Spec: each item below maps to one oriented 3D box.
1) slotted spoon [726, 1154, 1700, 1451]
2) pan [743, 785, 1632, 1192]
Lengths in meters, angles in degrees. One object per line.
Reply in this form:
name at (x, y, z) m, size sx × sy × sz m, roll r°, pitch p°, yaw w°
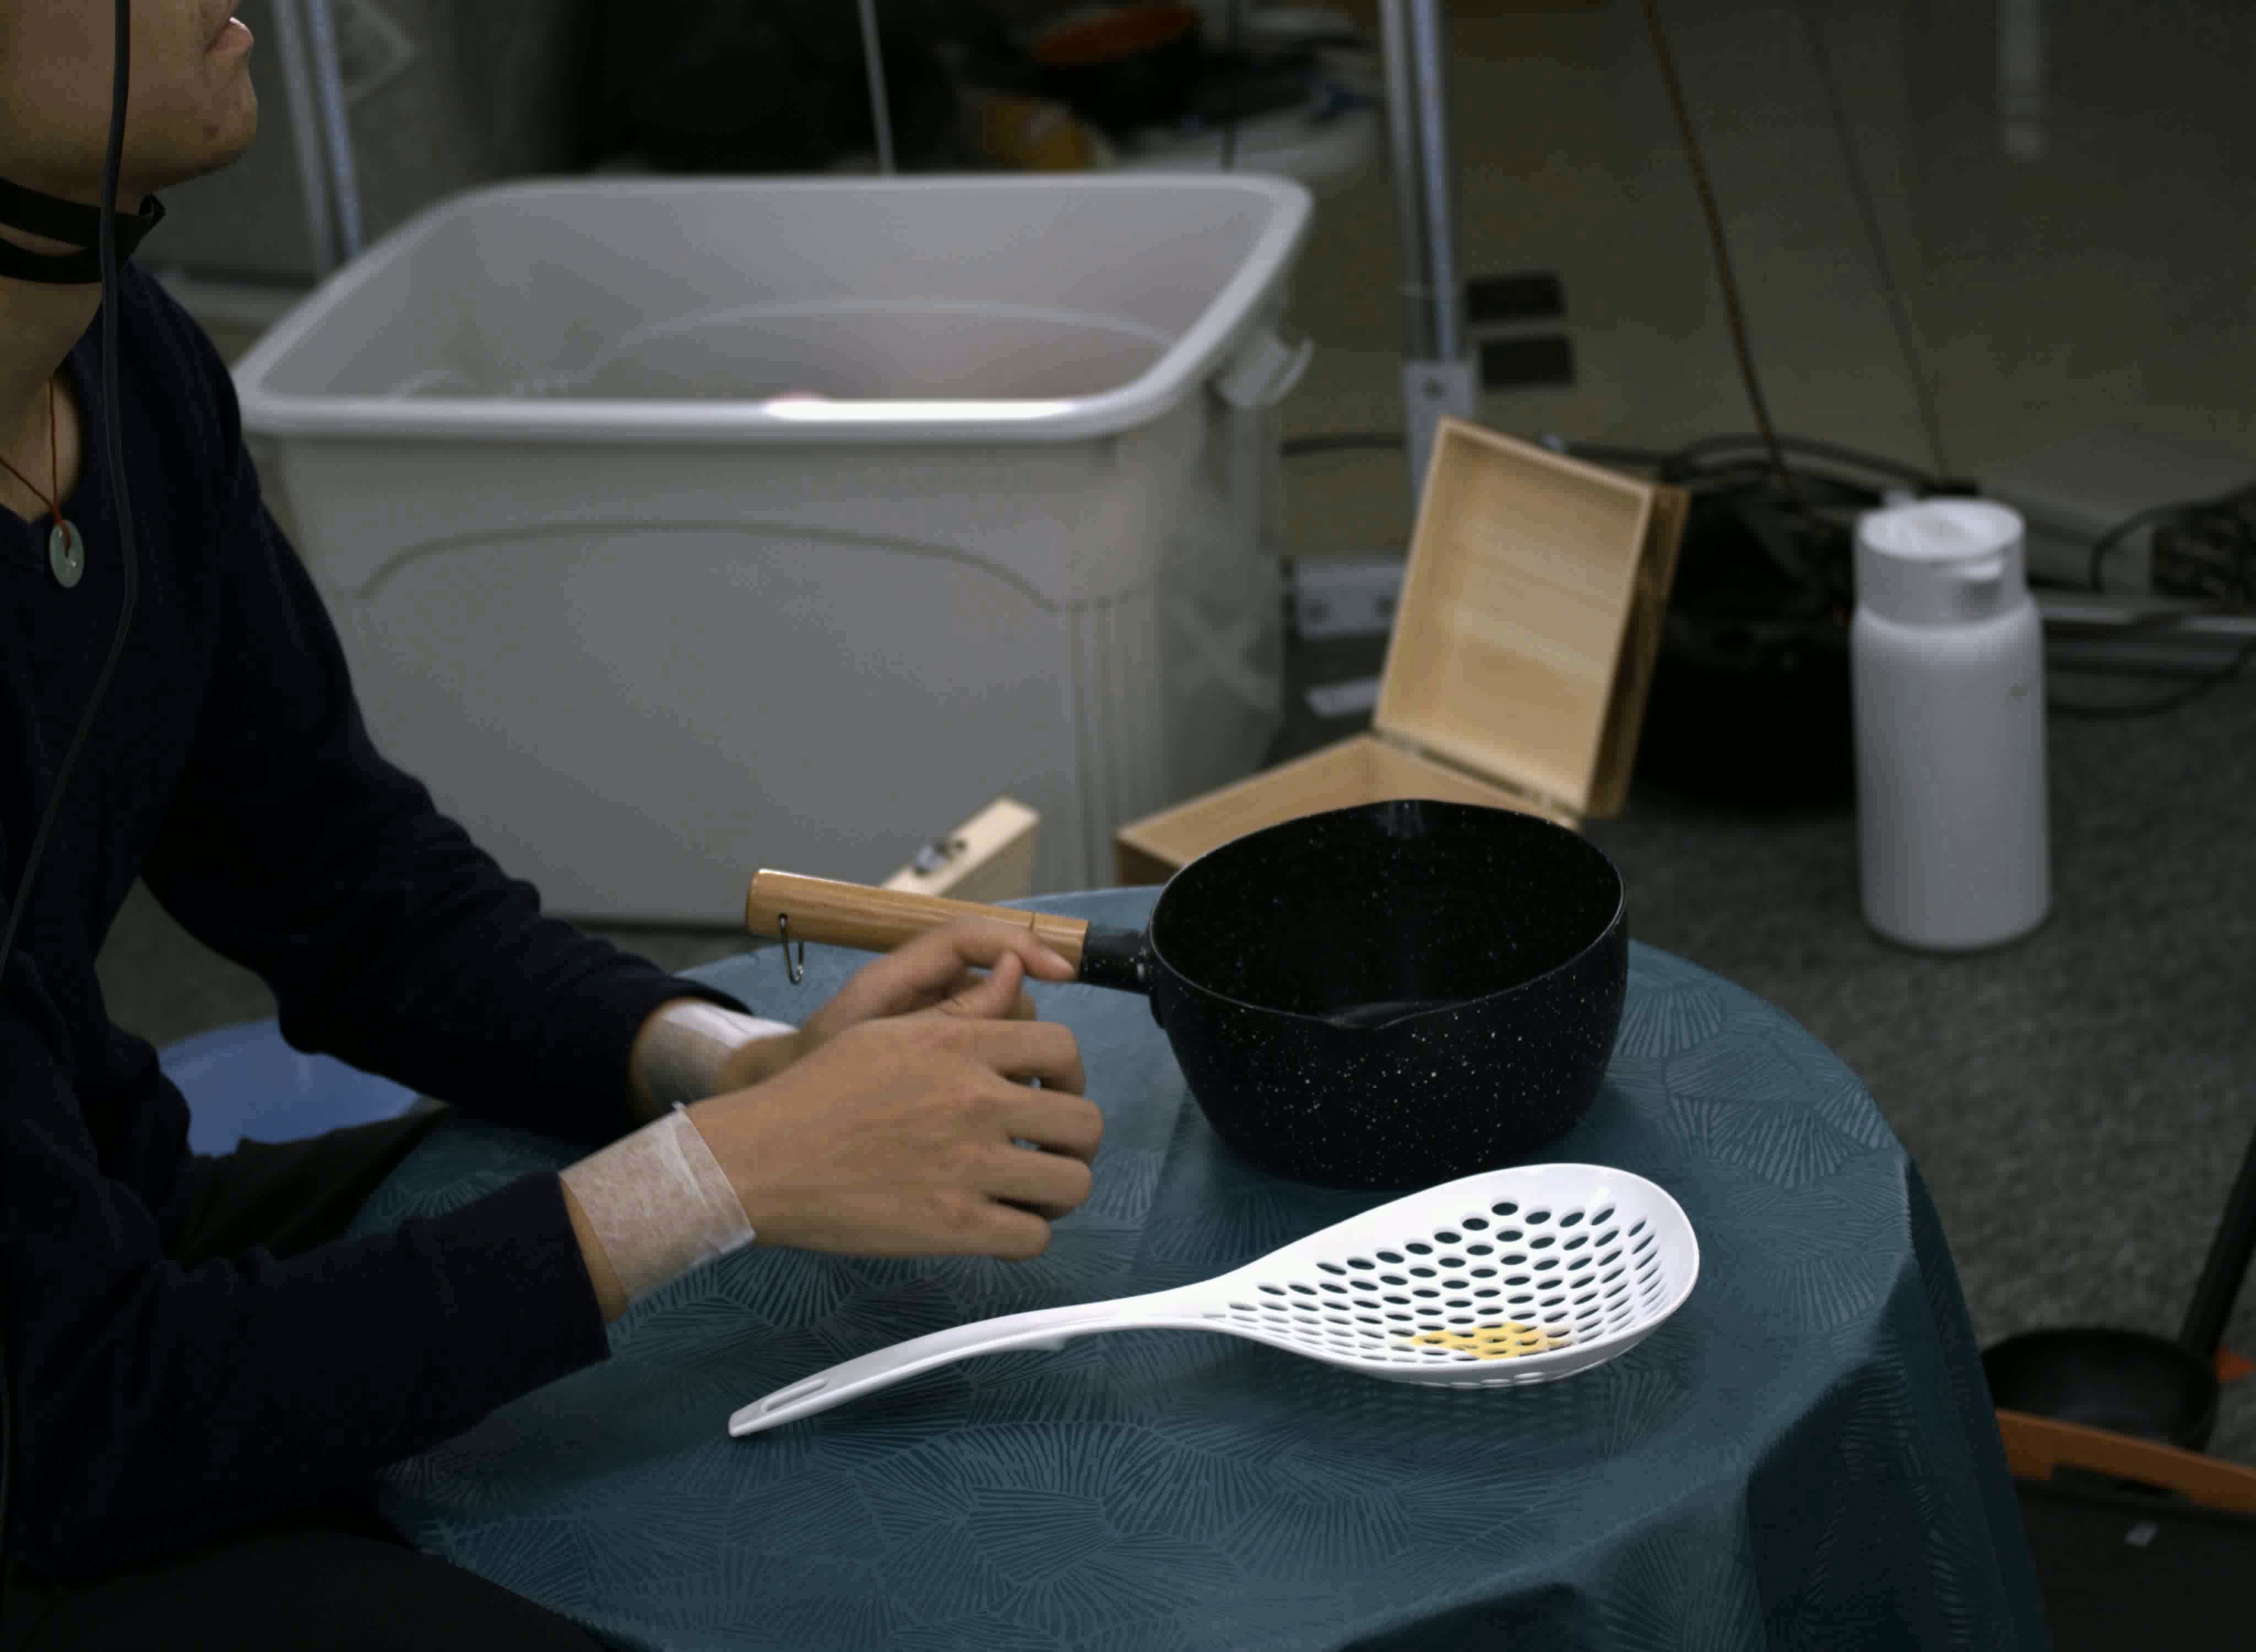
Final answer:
slotted spoon at (0.029, 0.179, 2.003) m, size 0.347 × 0.051 × 0.135 m, roll -5°, pitch 27°, yaw 0°
pan at (0.023, 0.060, 2.179) m, size 0.342 × 0.110 × 0.204 m, roll -2°, pitch 27°, yaw 7°
